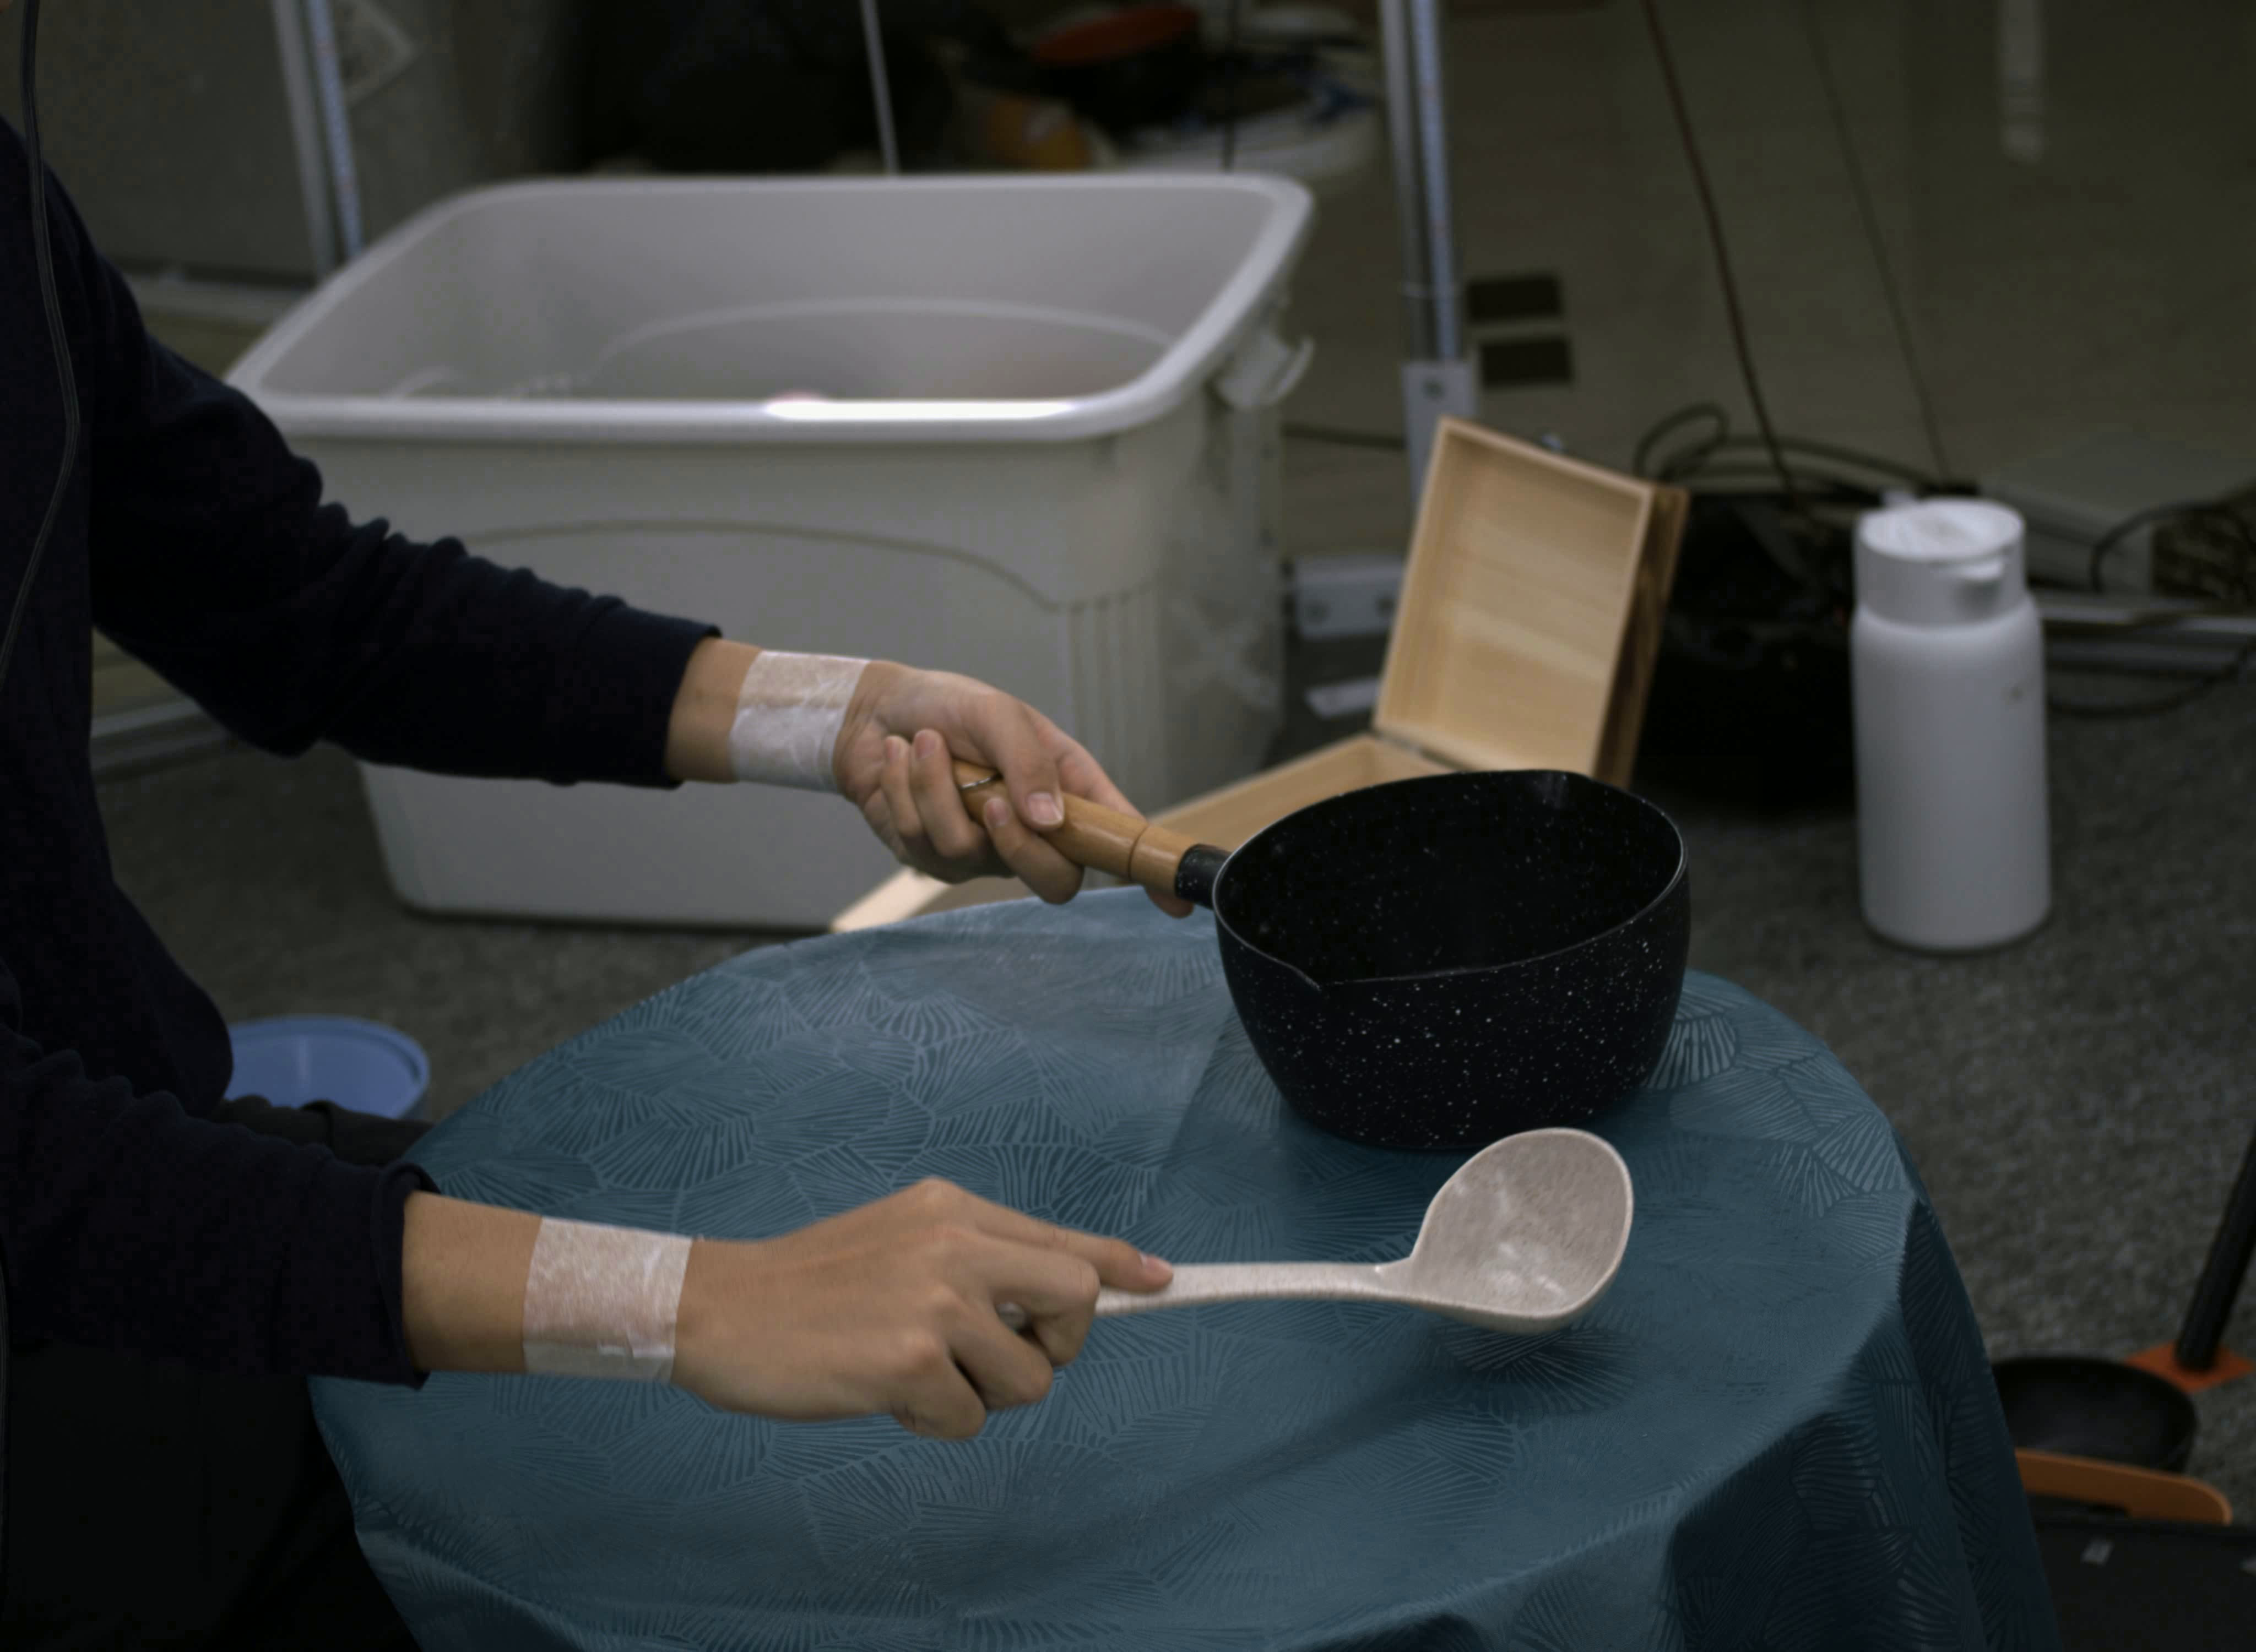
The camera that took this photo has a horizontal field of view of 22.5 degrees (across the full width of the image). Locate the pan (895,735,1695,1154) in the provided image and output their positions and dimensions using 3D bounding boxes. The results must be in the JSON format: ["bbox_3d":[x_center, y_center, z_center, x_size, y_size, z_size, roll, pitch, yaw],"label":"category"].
[{"bbox_3d":[0.059,0.035,2.226,0.341,0.110,0.205,8,30,29],"label":"pan"}]

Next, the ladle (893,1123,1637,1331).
[{"bbox_3d":[0.049,0.137,1.939,0.275,0.070,0.088,2,31,-31],"label":"ladle"}]
